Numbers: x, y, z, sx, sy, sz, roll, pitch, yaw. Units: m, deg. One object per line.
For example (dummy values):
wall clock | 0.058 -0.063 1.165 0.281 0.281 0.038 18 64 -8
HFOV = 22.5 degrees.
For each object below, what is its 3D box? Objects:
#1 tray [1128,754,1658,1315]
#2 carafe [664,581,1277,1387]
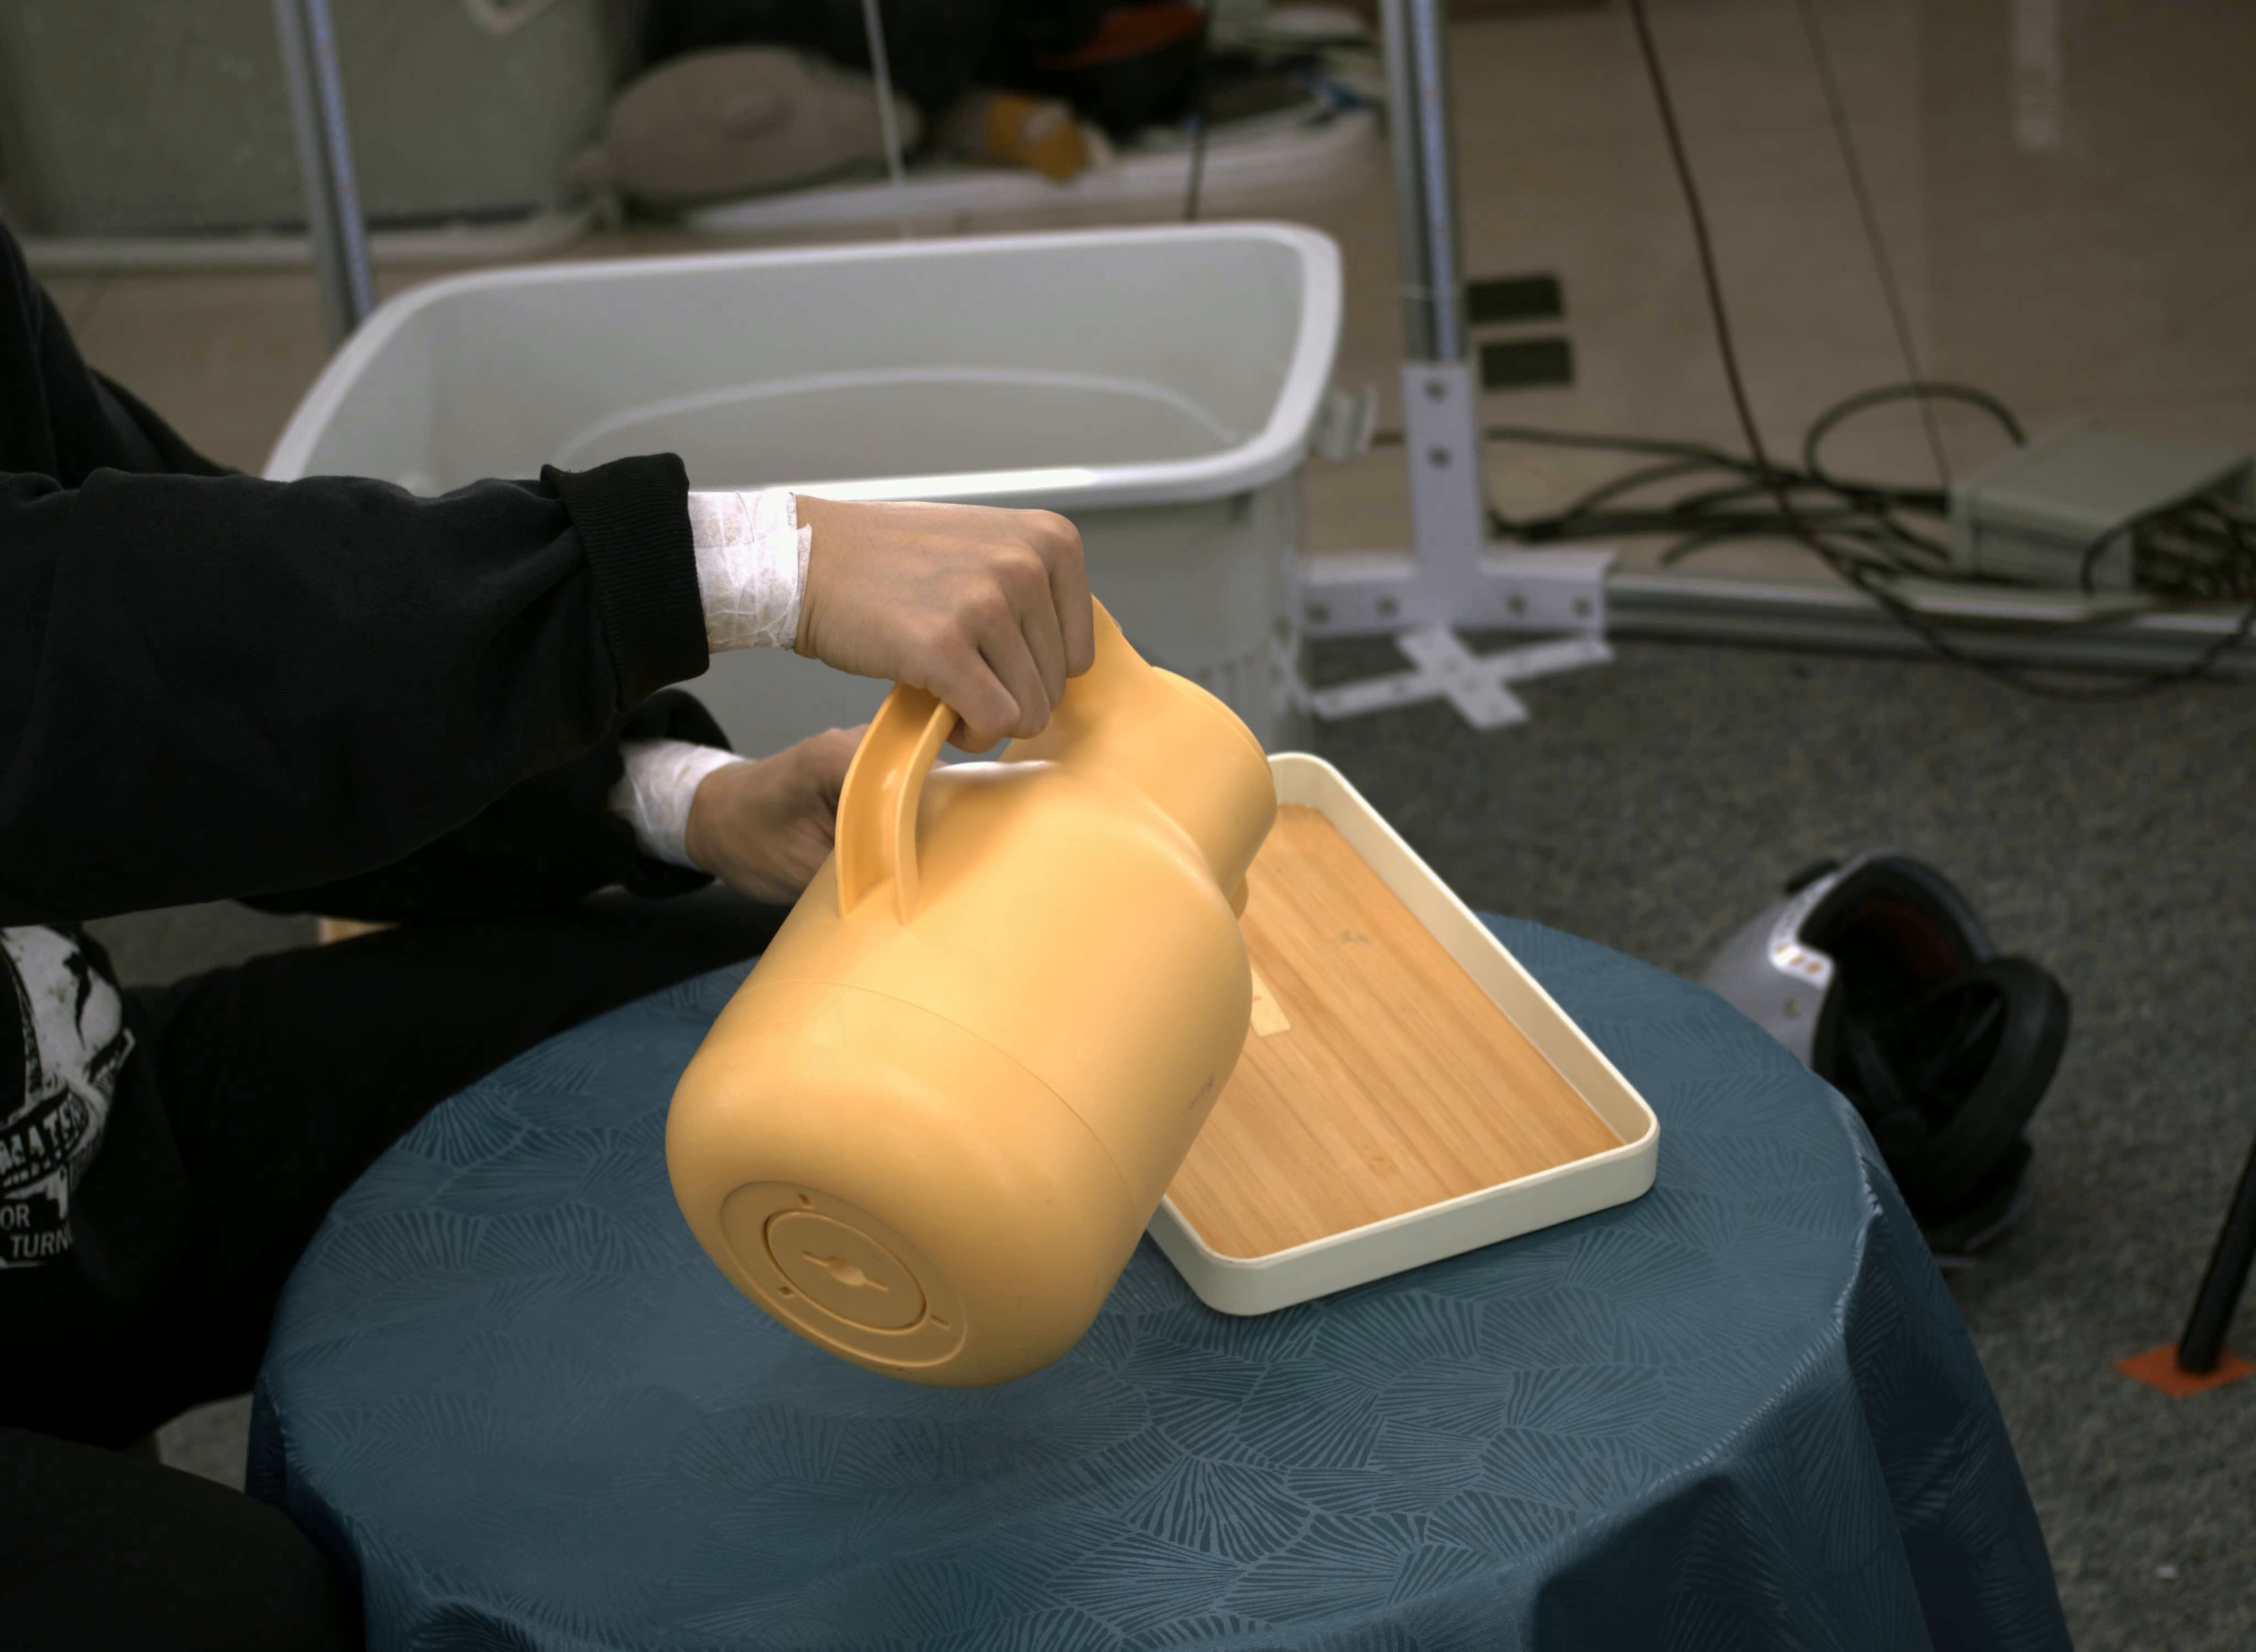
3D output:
tray | 0.054 0.074 2.179 0.191 0.028 0.296 -15 37 -20
carafe | -0.049 0.045 1.962 0.163 0.206 0.256 3 46 34
